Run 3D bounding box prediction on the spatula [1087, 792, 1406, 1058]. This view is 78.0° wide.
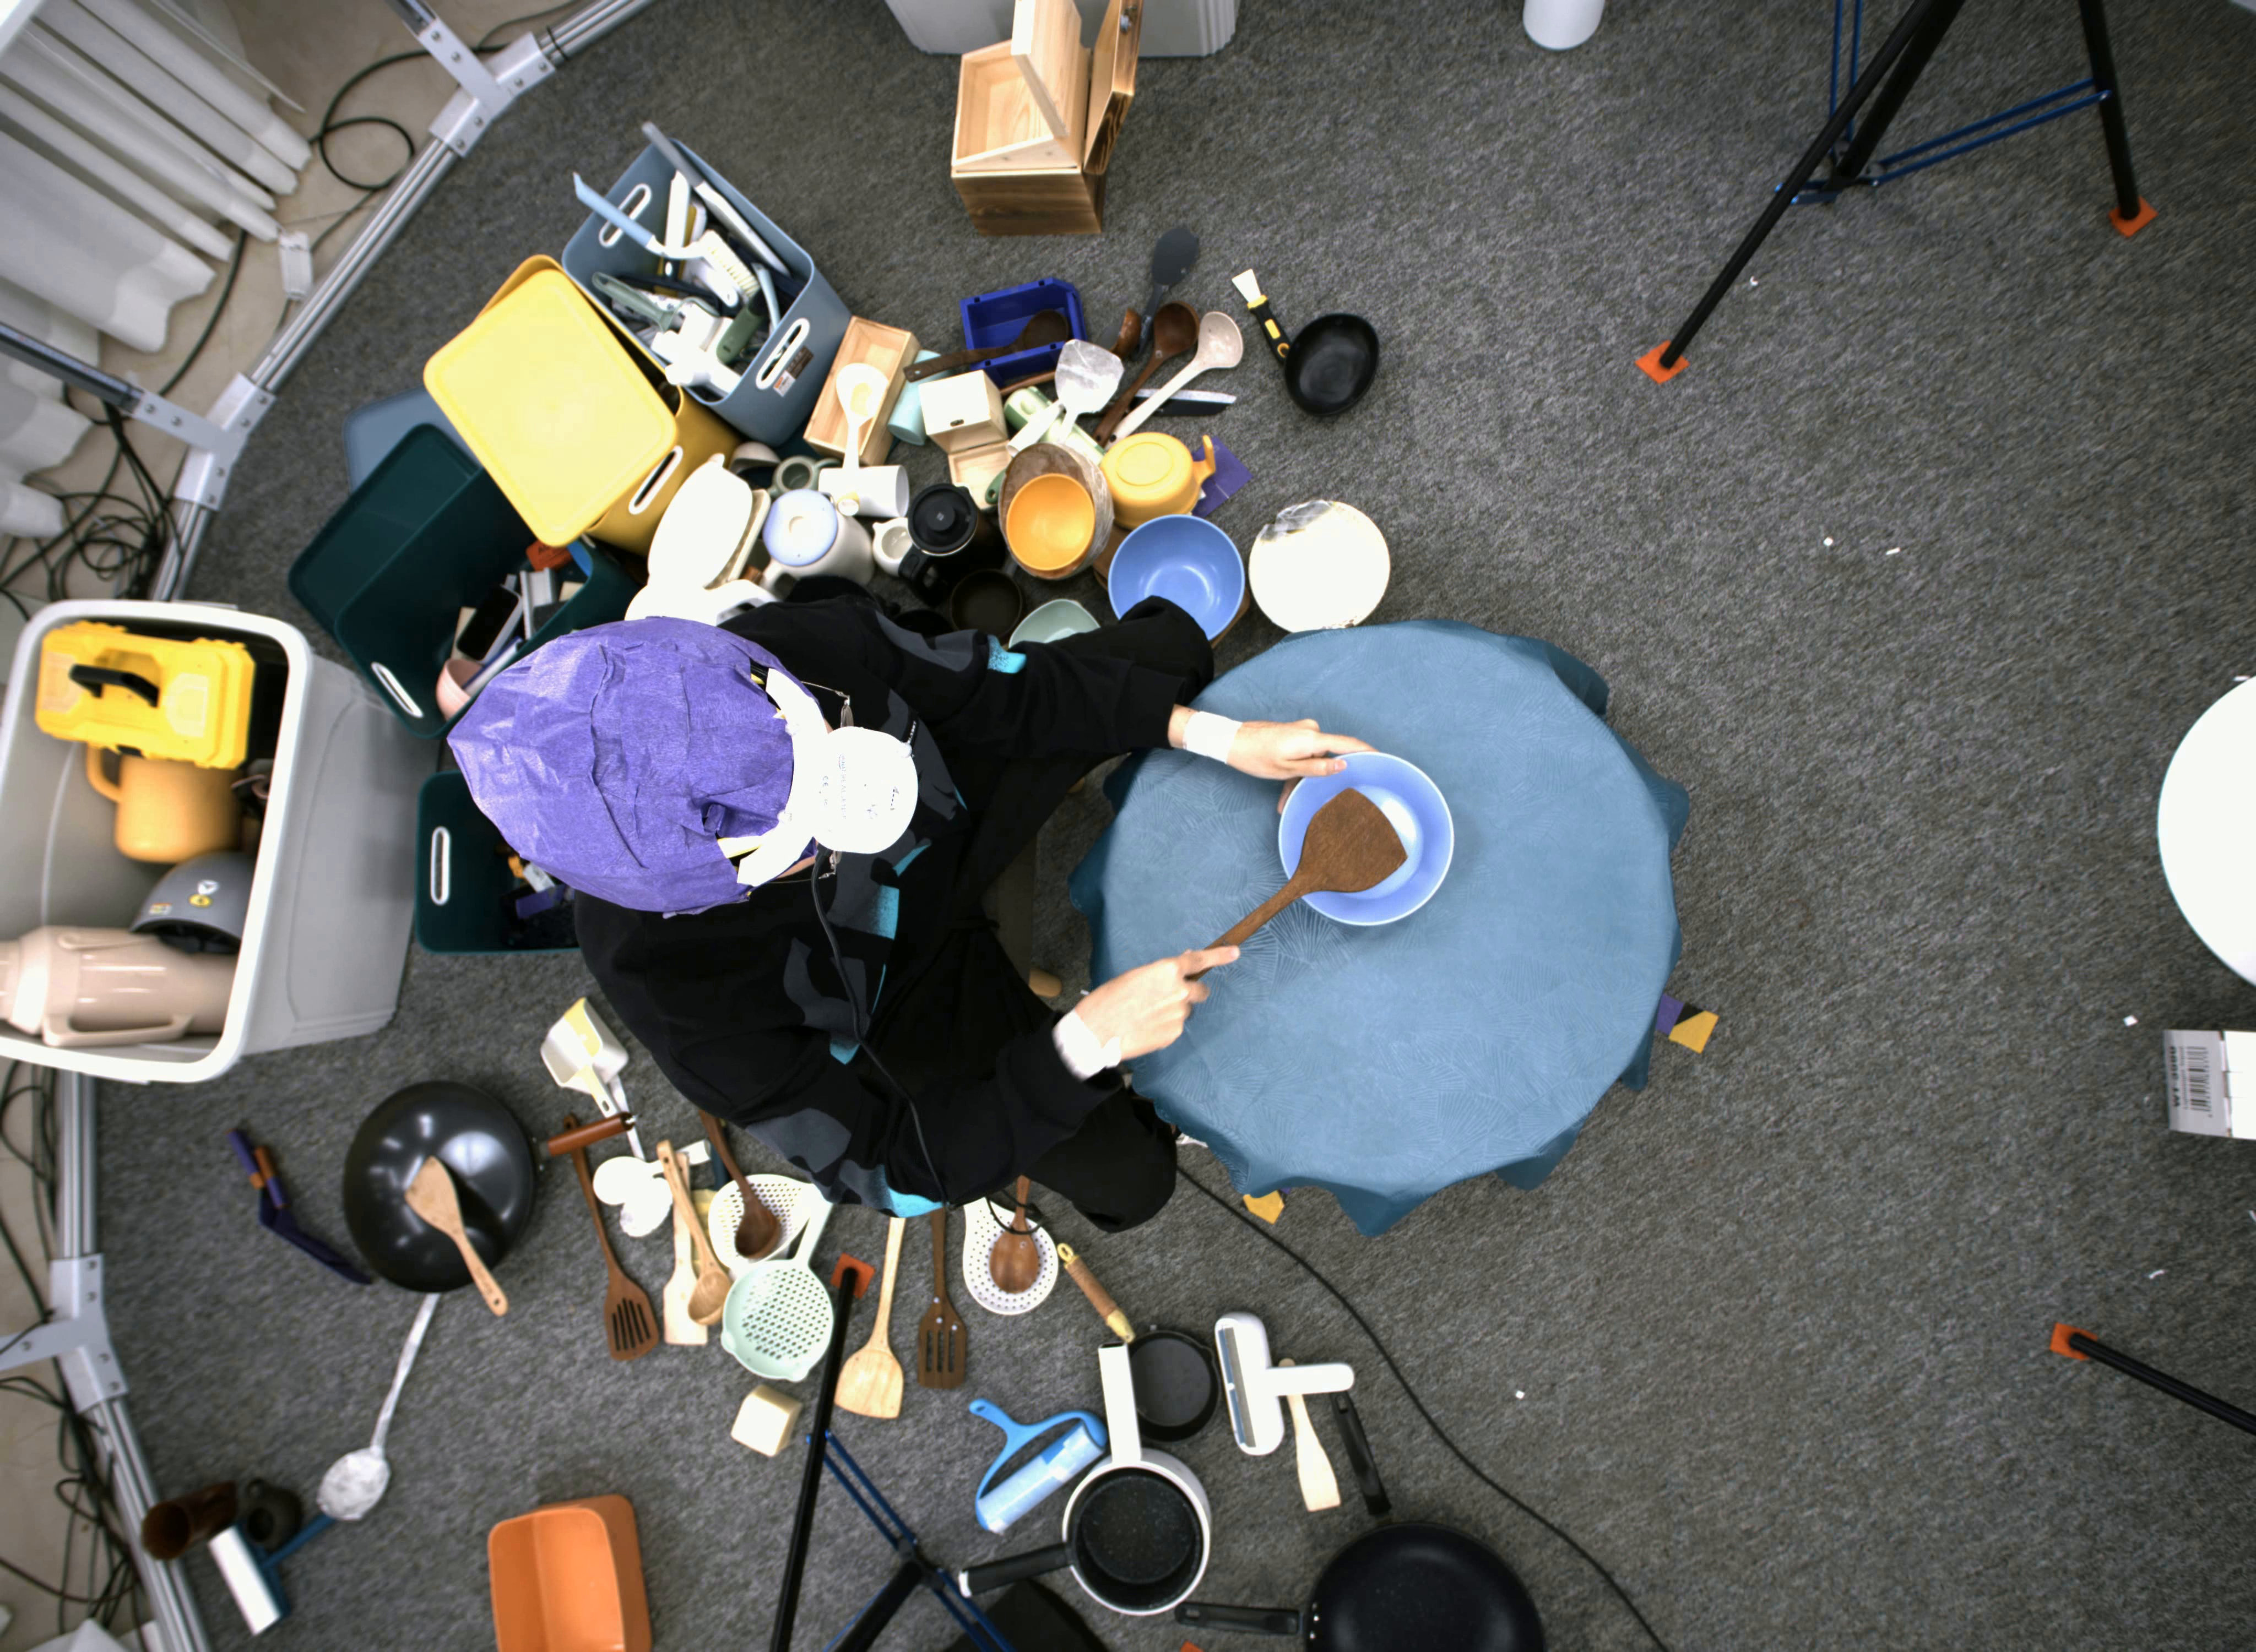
[{"bbox_3d":[0.111,0.097,1.294,0.380,0.016,0.096,-36,86,-22],"label":"spatula"}]

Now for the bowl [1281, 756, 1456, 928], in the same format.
[{"bbox_3d":[0.249,0.018,1.429,0.177,0.070,0.175,-1,86,12],"label":"bowl"}]
